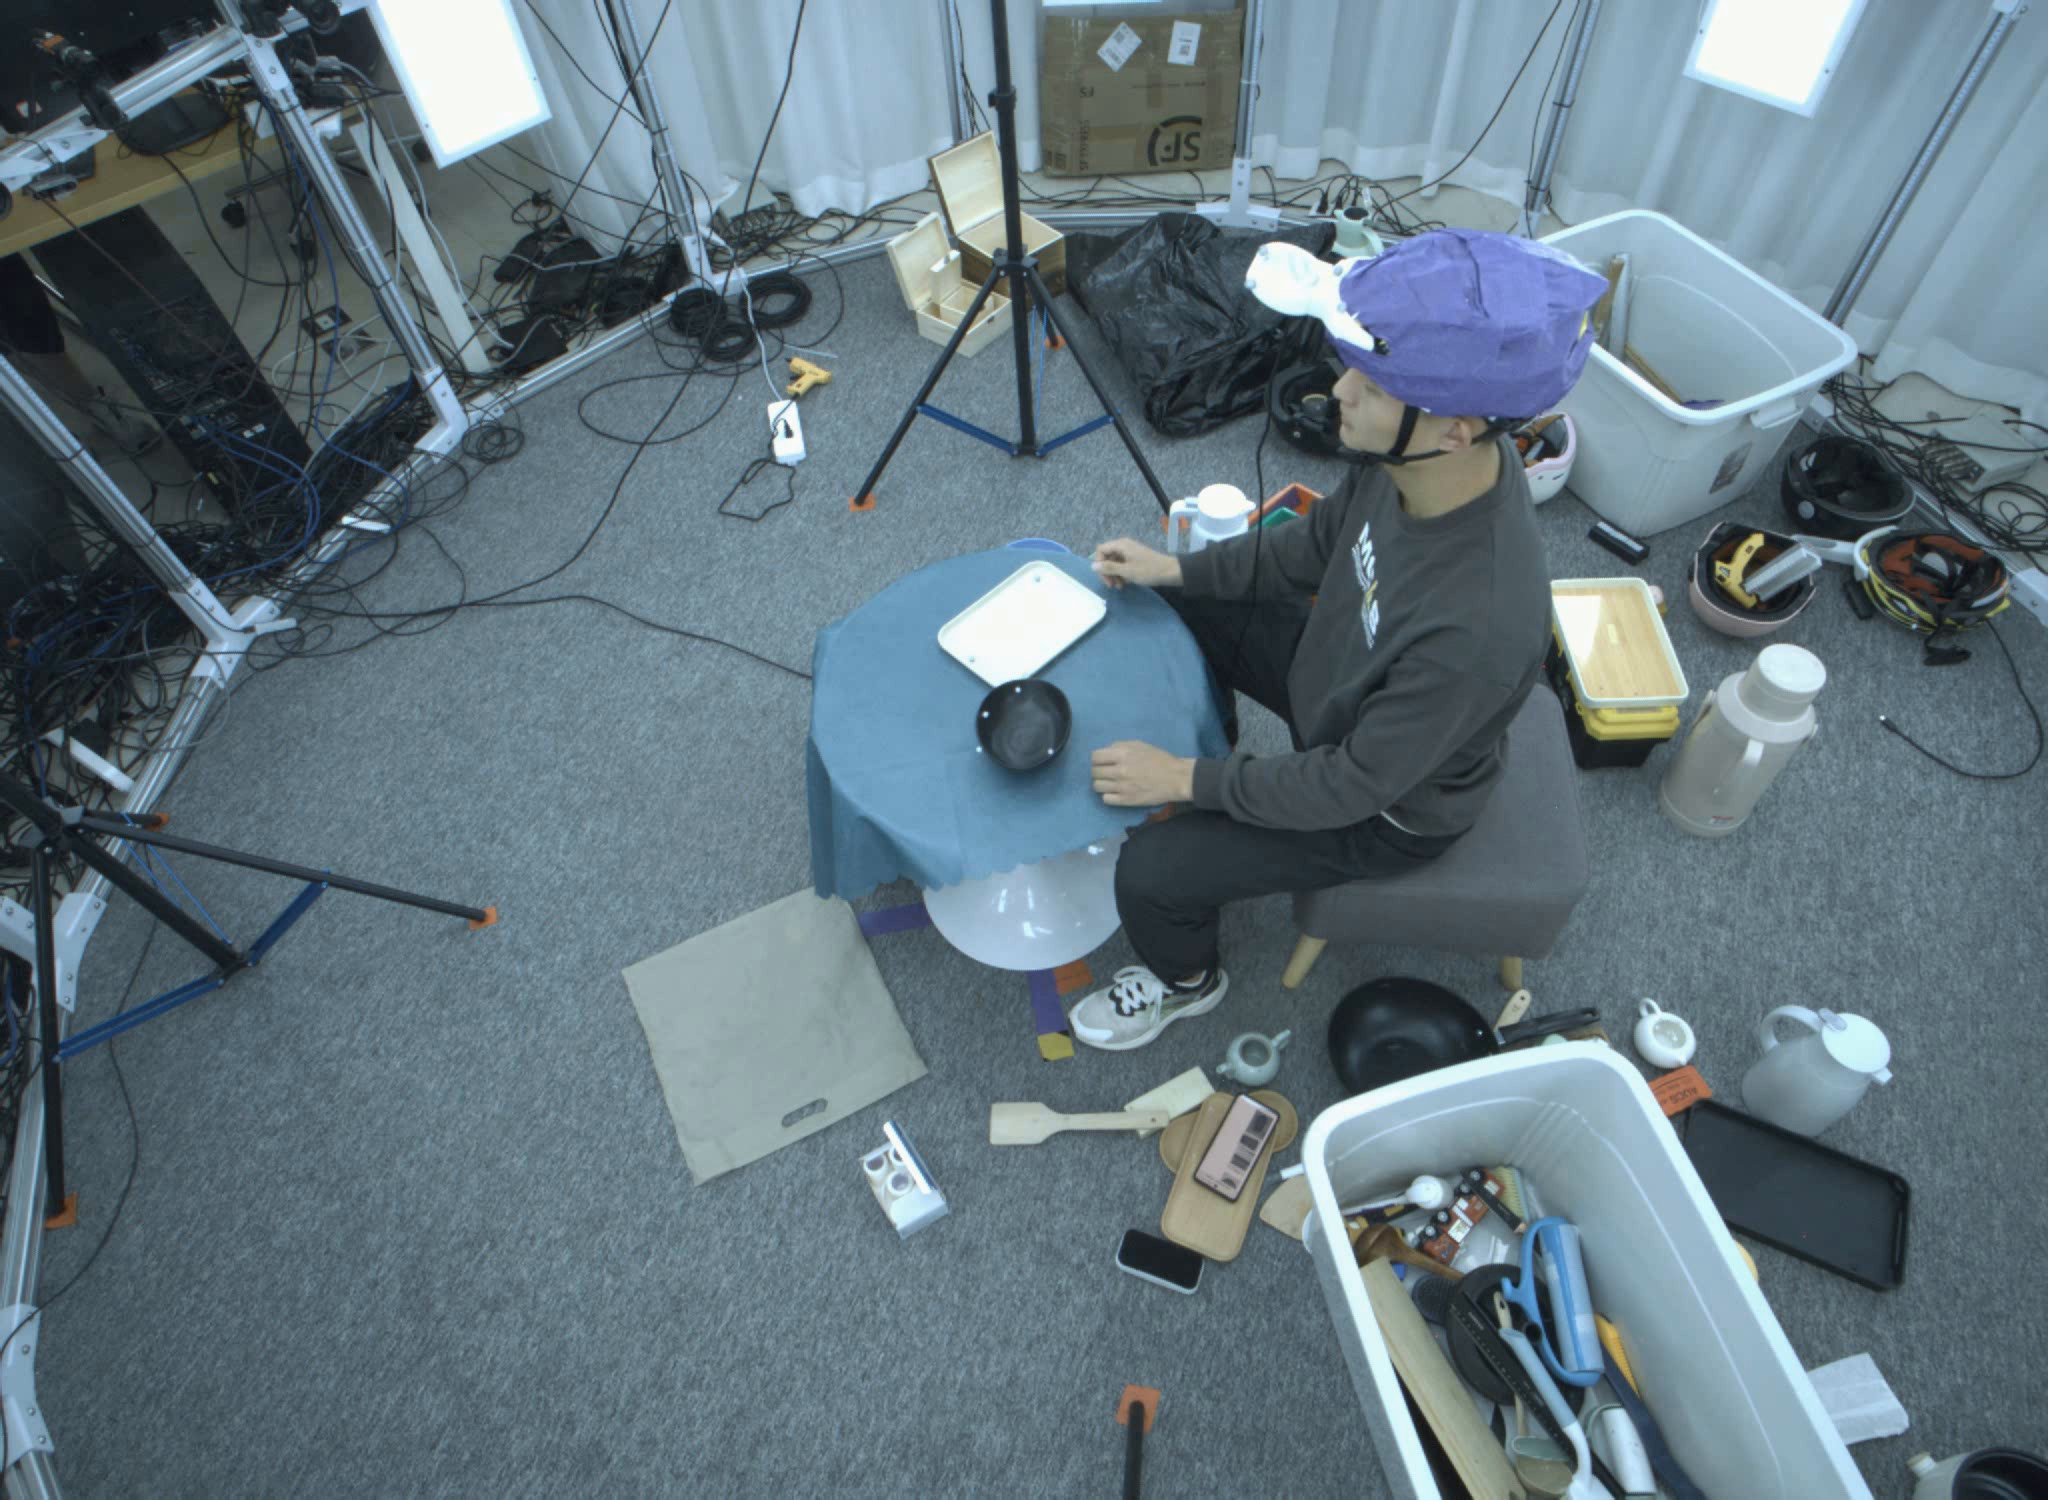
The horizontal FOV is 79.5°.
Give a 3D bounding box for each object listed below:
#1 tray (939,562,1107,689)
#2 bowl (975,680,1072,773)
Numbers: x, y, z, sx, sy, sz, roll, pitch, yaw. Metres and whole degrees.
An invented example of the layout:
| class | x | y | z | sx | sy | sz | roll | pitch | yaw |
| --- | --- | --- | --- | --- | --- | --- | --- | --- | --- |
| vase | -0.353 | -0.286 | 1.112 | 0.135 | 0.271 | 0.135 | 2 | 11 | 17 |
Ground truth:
| class | x | y | z | sx | sy | sz | roll | pitch | yaw |
| --- | --- | --- | --- | --- | --- | --- | --- | --- | --- |
| tray | -0.001 | -0.195 | 1.913 | 0.168 | 0.017 | 0.241 | 38 | 64 | 25 |
| bowl | 0.001 | -0.027 | 1.767 | 0.137 | 0.067 | 0.169 | 7 | 53 | 5 |
